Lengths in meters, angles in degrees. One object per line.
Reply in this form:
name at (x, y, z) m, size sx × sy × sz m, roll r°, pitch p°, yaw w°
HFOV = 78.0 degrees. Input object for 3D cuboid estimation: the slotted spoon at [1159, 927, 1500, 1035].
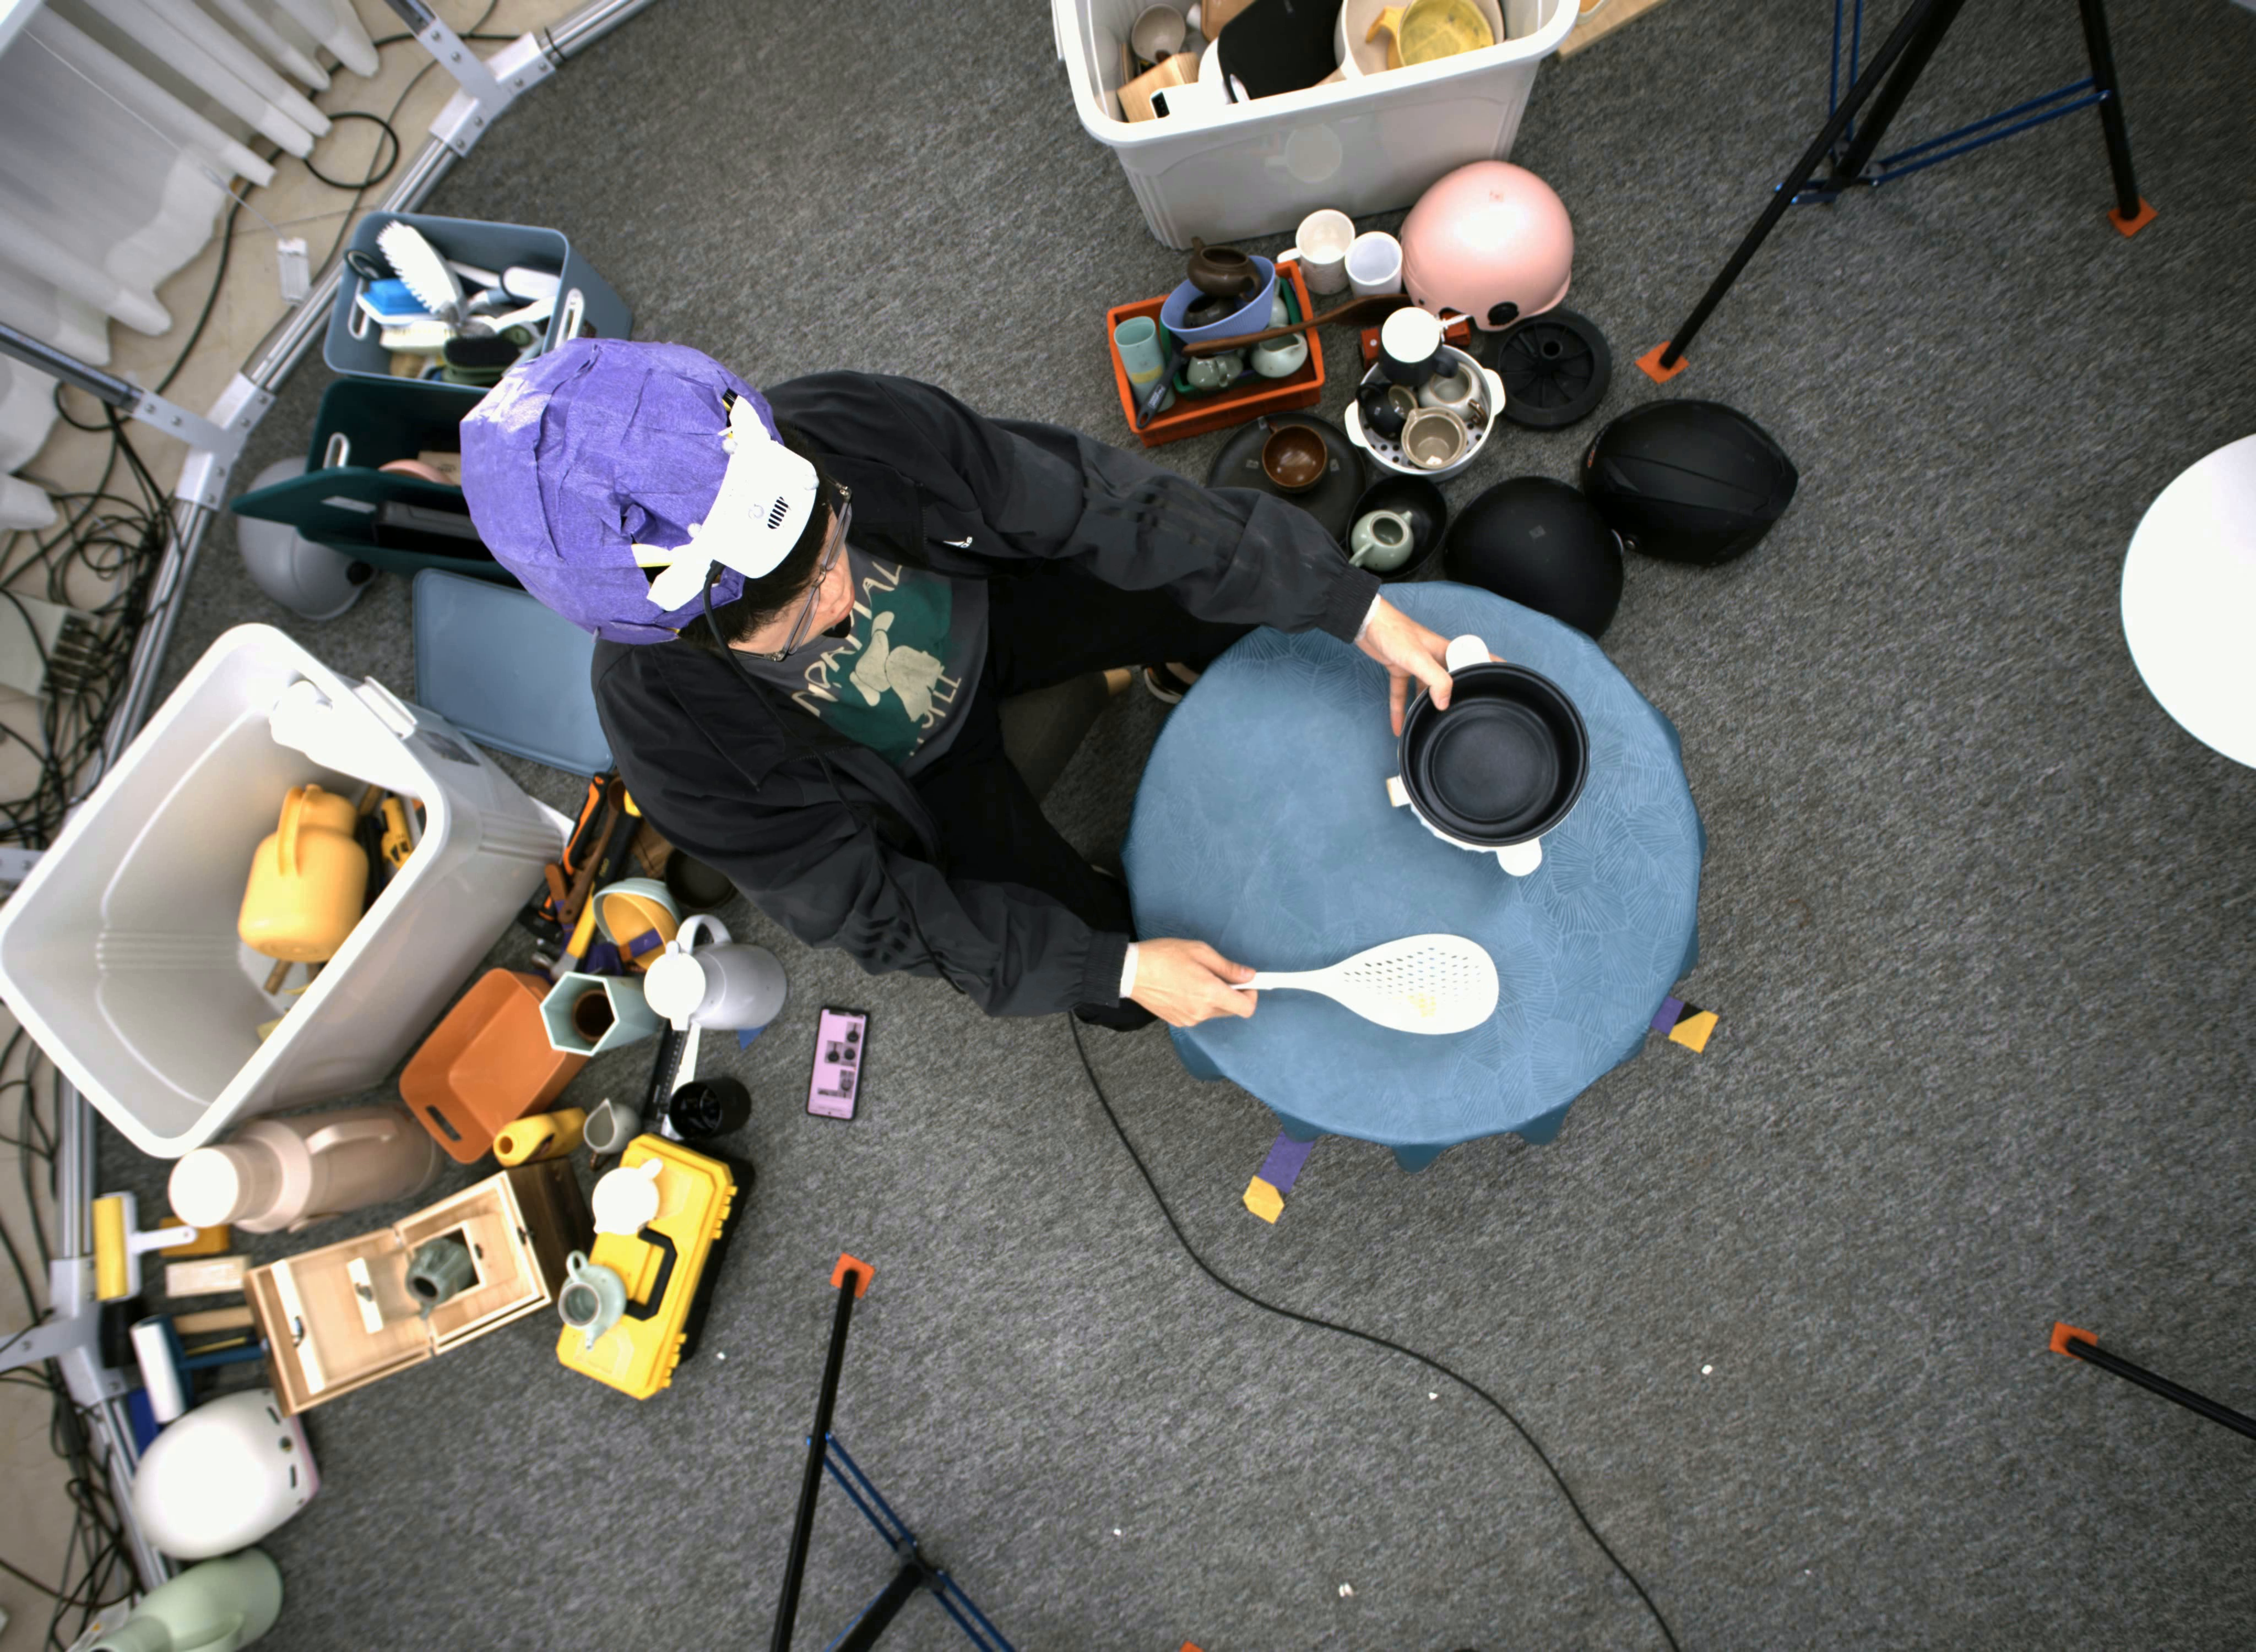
slotted spoon at (0.203, 0.166, 1.427) m, size 0.349 × 0.051 × 0.133 m, roll 1°, pitch 48°, yaw 8°

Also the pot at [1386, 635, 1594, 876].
pot at (0.358, -0.062, 1.378) m, size 0.191 × 0.143 × 0.239 m, roll -14°, pitch 83°, yaw 6°
